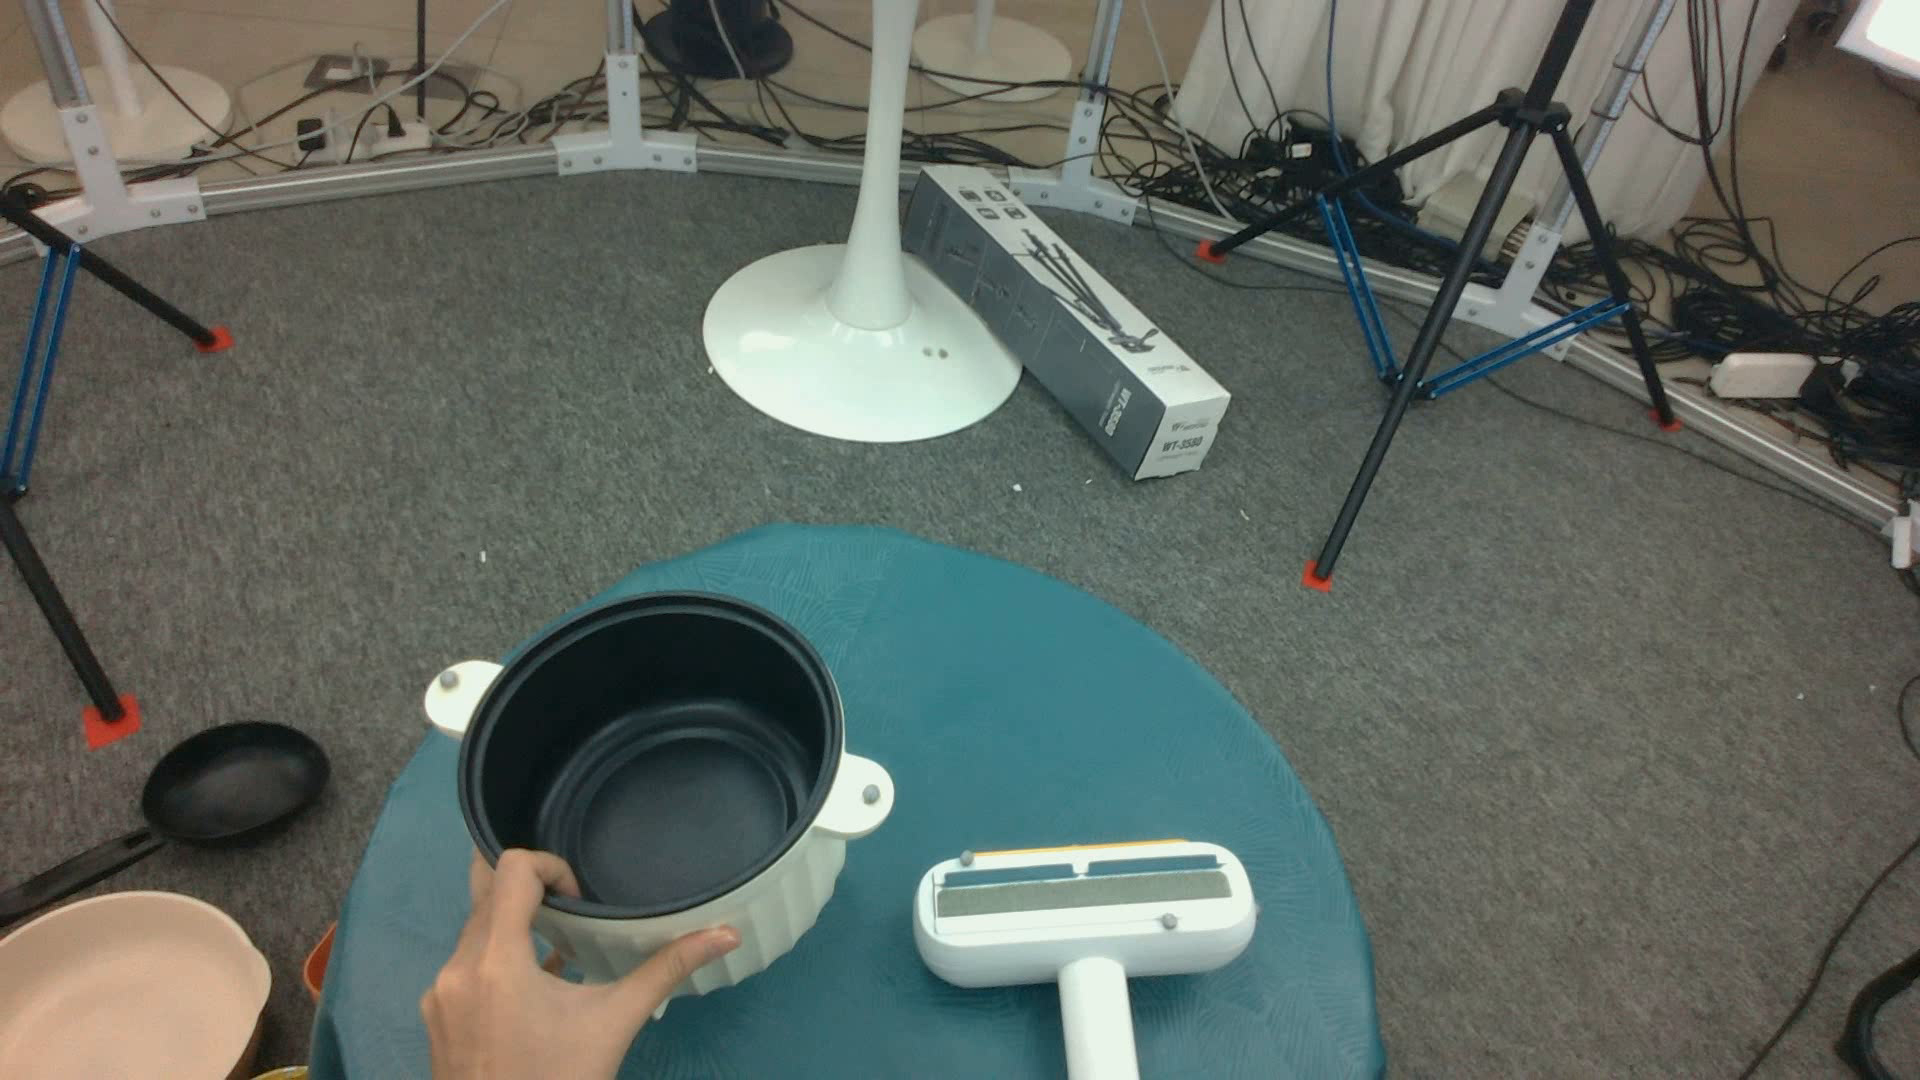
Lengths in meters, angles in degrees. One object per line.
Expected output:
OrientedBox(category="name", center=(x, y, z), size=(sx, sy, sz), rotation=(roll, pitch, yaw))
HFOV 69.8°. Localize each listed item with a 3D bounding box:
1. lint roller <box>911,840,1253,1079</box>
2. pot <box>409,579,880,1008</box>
OrientedBox(category="lint roller", center=(0.068, 0.256, 0.752), size=(0.193, 0.074, 0.193), rotation=(2, 47, -3))
OrientedBox(category="pot", center=(-0.154, 0.127, 0.715), size=(0.240, 0.142, 0.191), rotation=(13, 55, 8))
